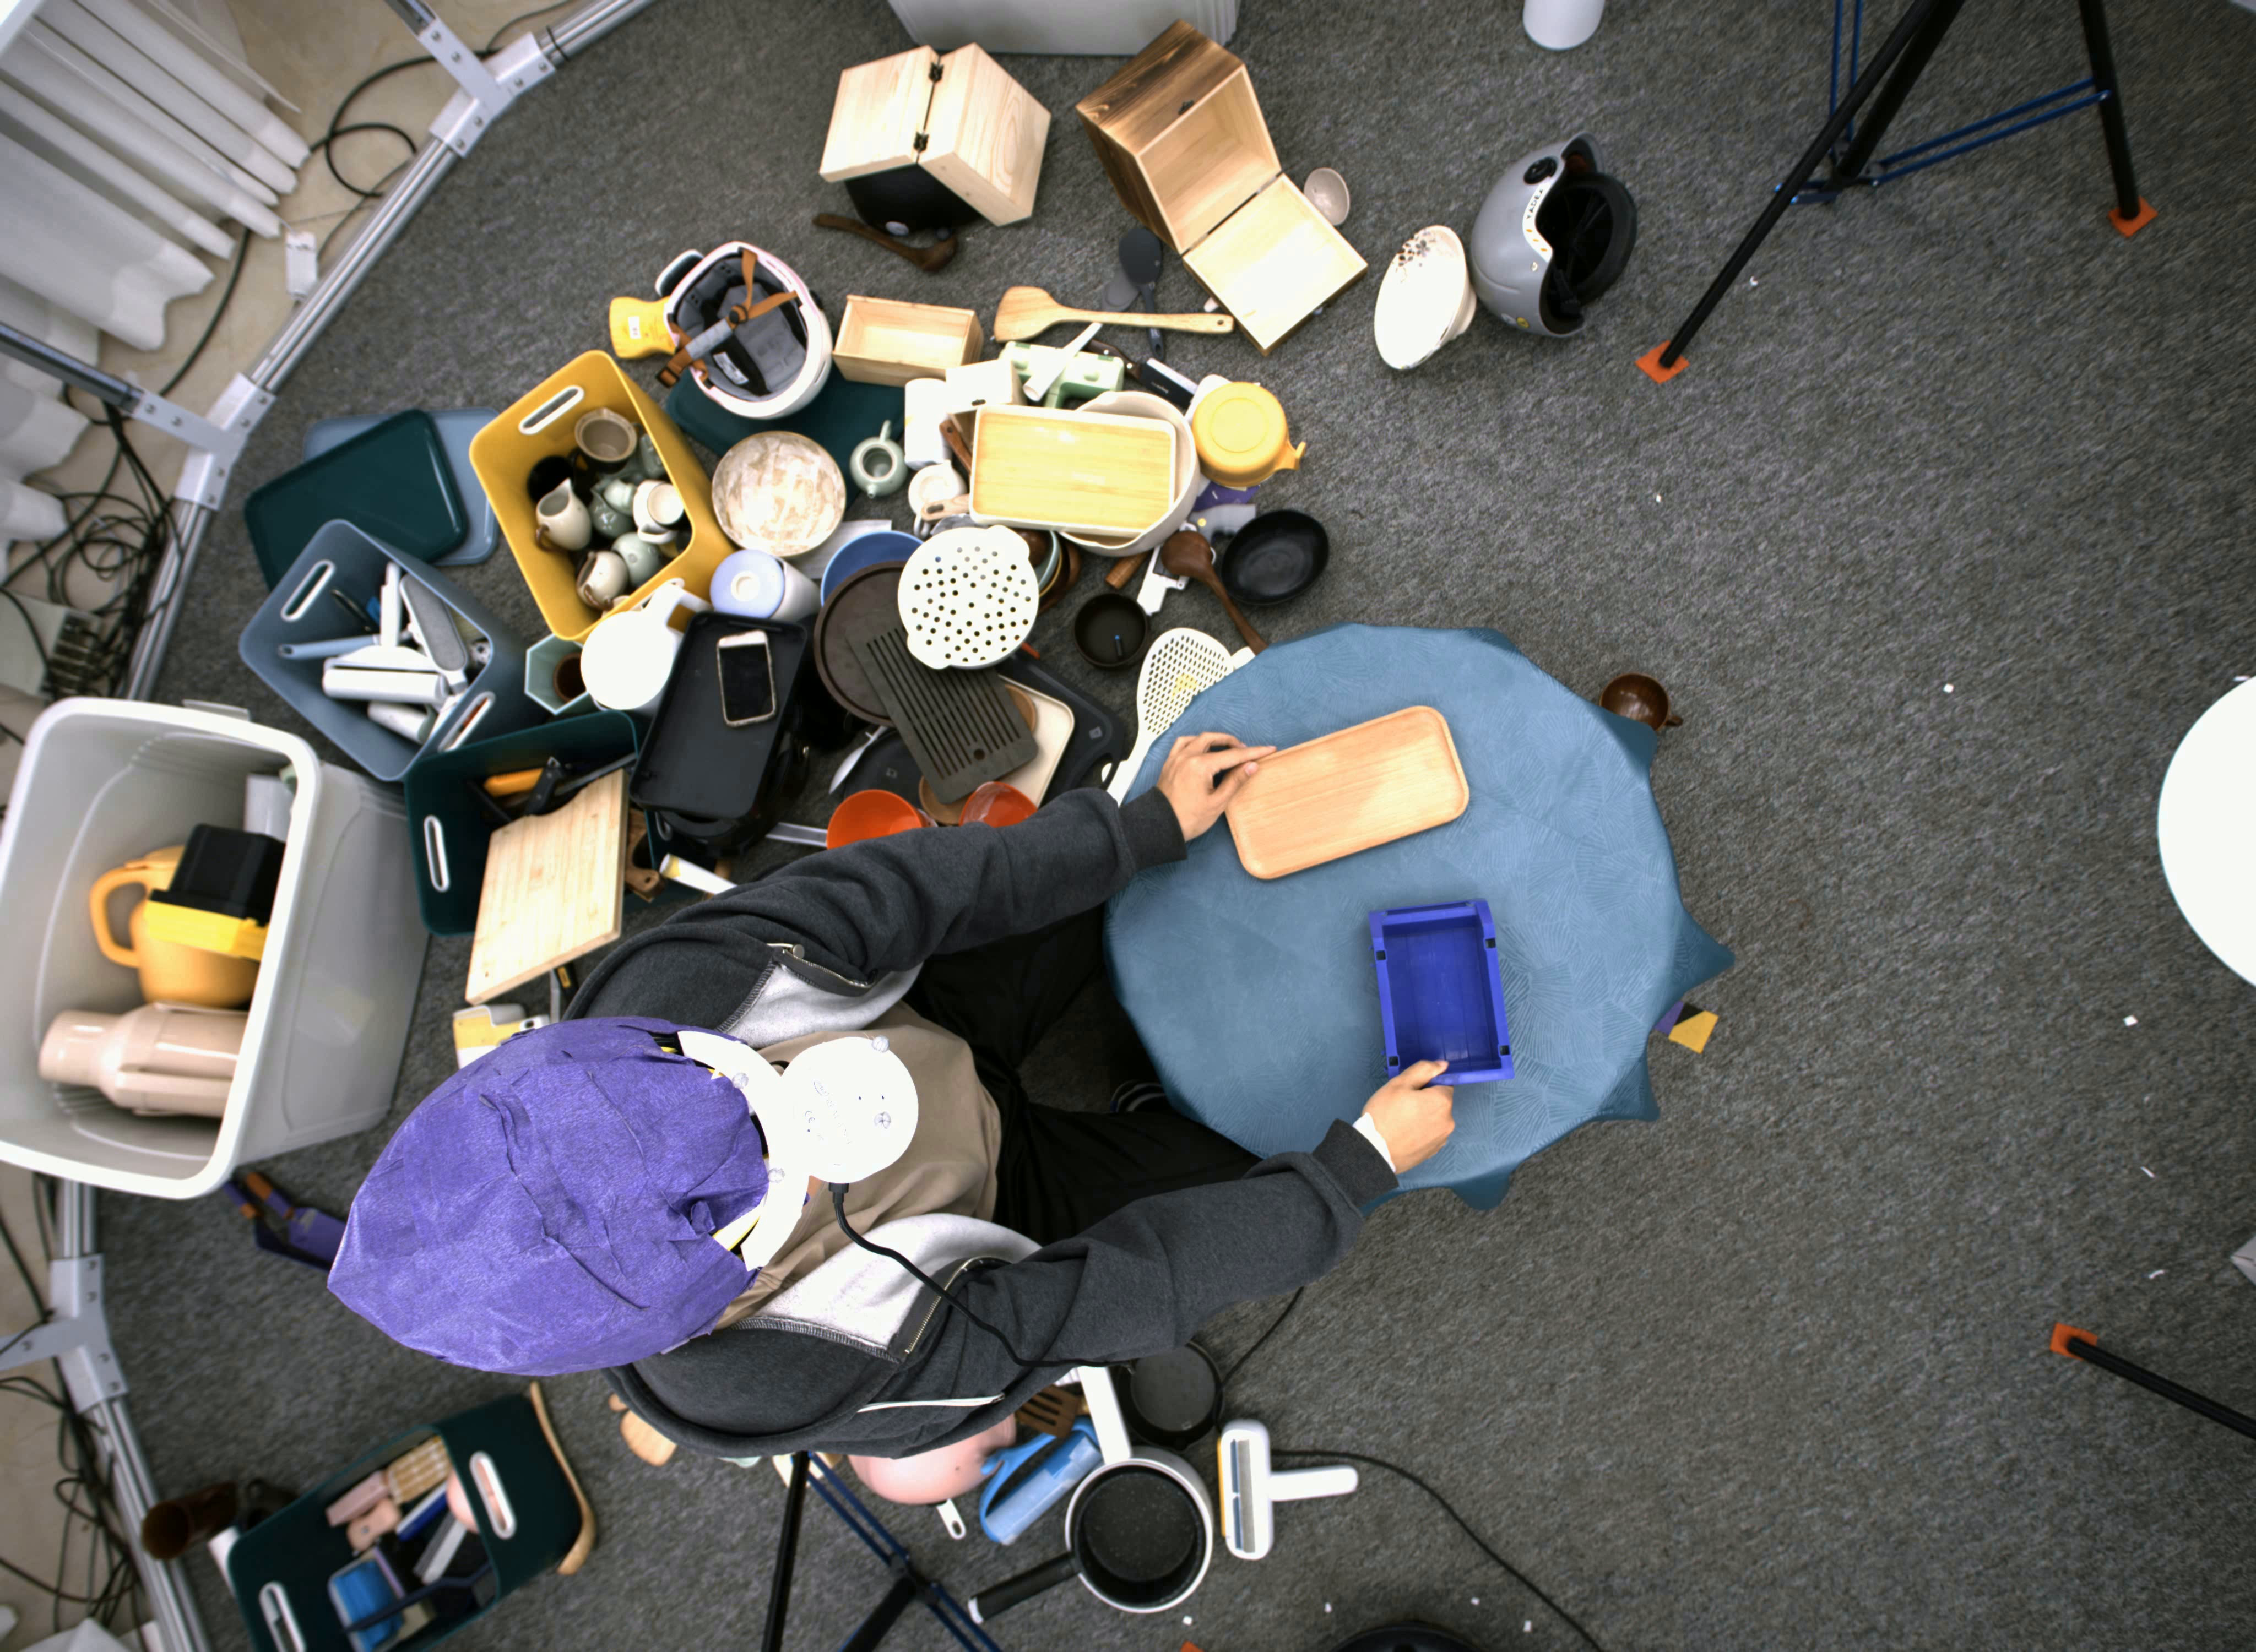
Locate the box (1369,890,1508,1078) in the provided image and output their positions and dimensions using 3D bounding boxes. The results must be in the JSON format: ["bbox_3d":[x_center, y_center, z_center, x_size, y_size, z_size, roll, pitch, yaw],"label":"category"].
[{"bbox_3d":[0.310,0.155,1.393,0.125,0.081,0.179,-5,89,10],"label":"box"}]

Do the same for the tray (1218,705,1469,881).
[{"bbox_3d":[0.226,-0.035,1.457,0.252,0.023,0.130,-18,89,9],"label":"tray"}]
